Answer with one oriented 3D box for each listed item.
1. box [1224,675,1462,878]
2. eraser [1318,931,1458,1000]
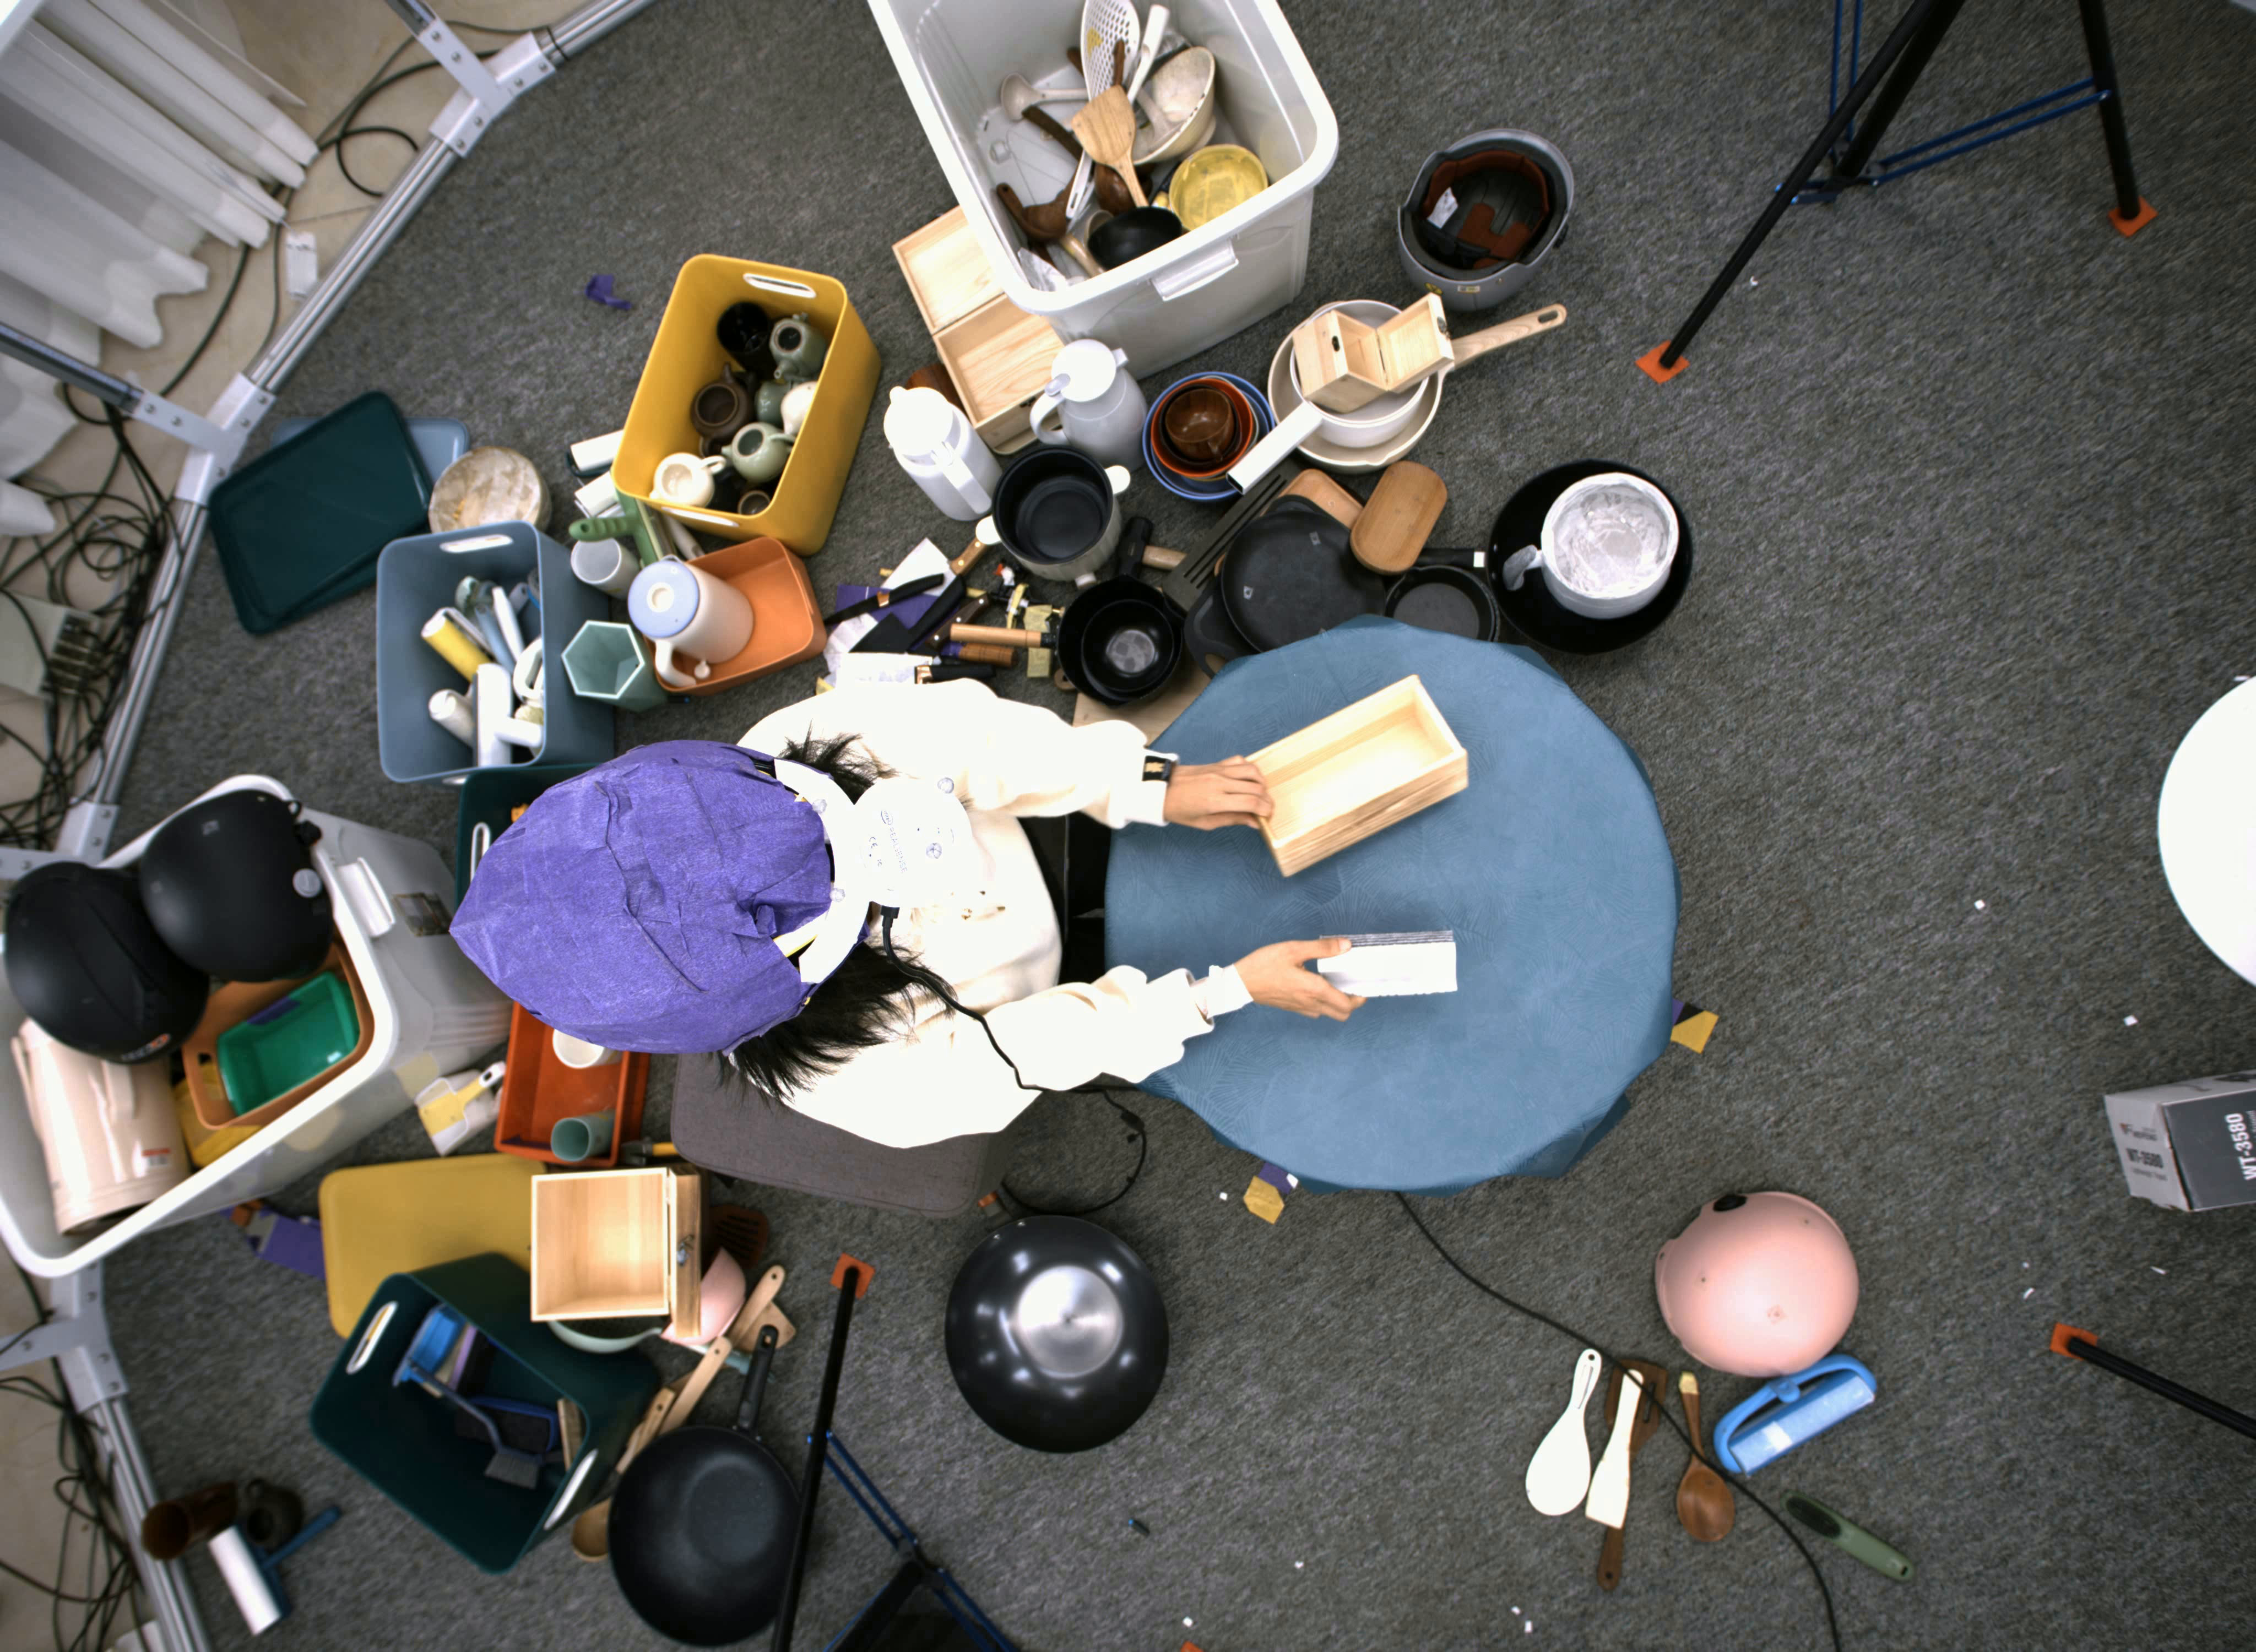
[{"bbox_3d":[0.220,-0.050,1.401,0.212,0.081,0.105,-27,62,2],"label":"box"},{"bbox_3d":[0.257,0.136,1.368,0.135,0.051,0.045,-7,45,11],"label":"eraser"}]
